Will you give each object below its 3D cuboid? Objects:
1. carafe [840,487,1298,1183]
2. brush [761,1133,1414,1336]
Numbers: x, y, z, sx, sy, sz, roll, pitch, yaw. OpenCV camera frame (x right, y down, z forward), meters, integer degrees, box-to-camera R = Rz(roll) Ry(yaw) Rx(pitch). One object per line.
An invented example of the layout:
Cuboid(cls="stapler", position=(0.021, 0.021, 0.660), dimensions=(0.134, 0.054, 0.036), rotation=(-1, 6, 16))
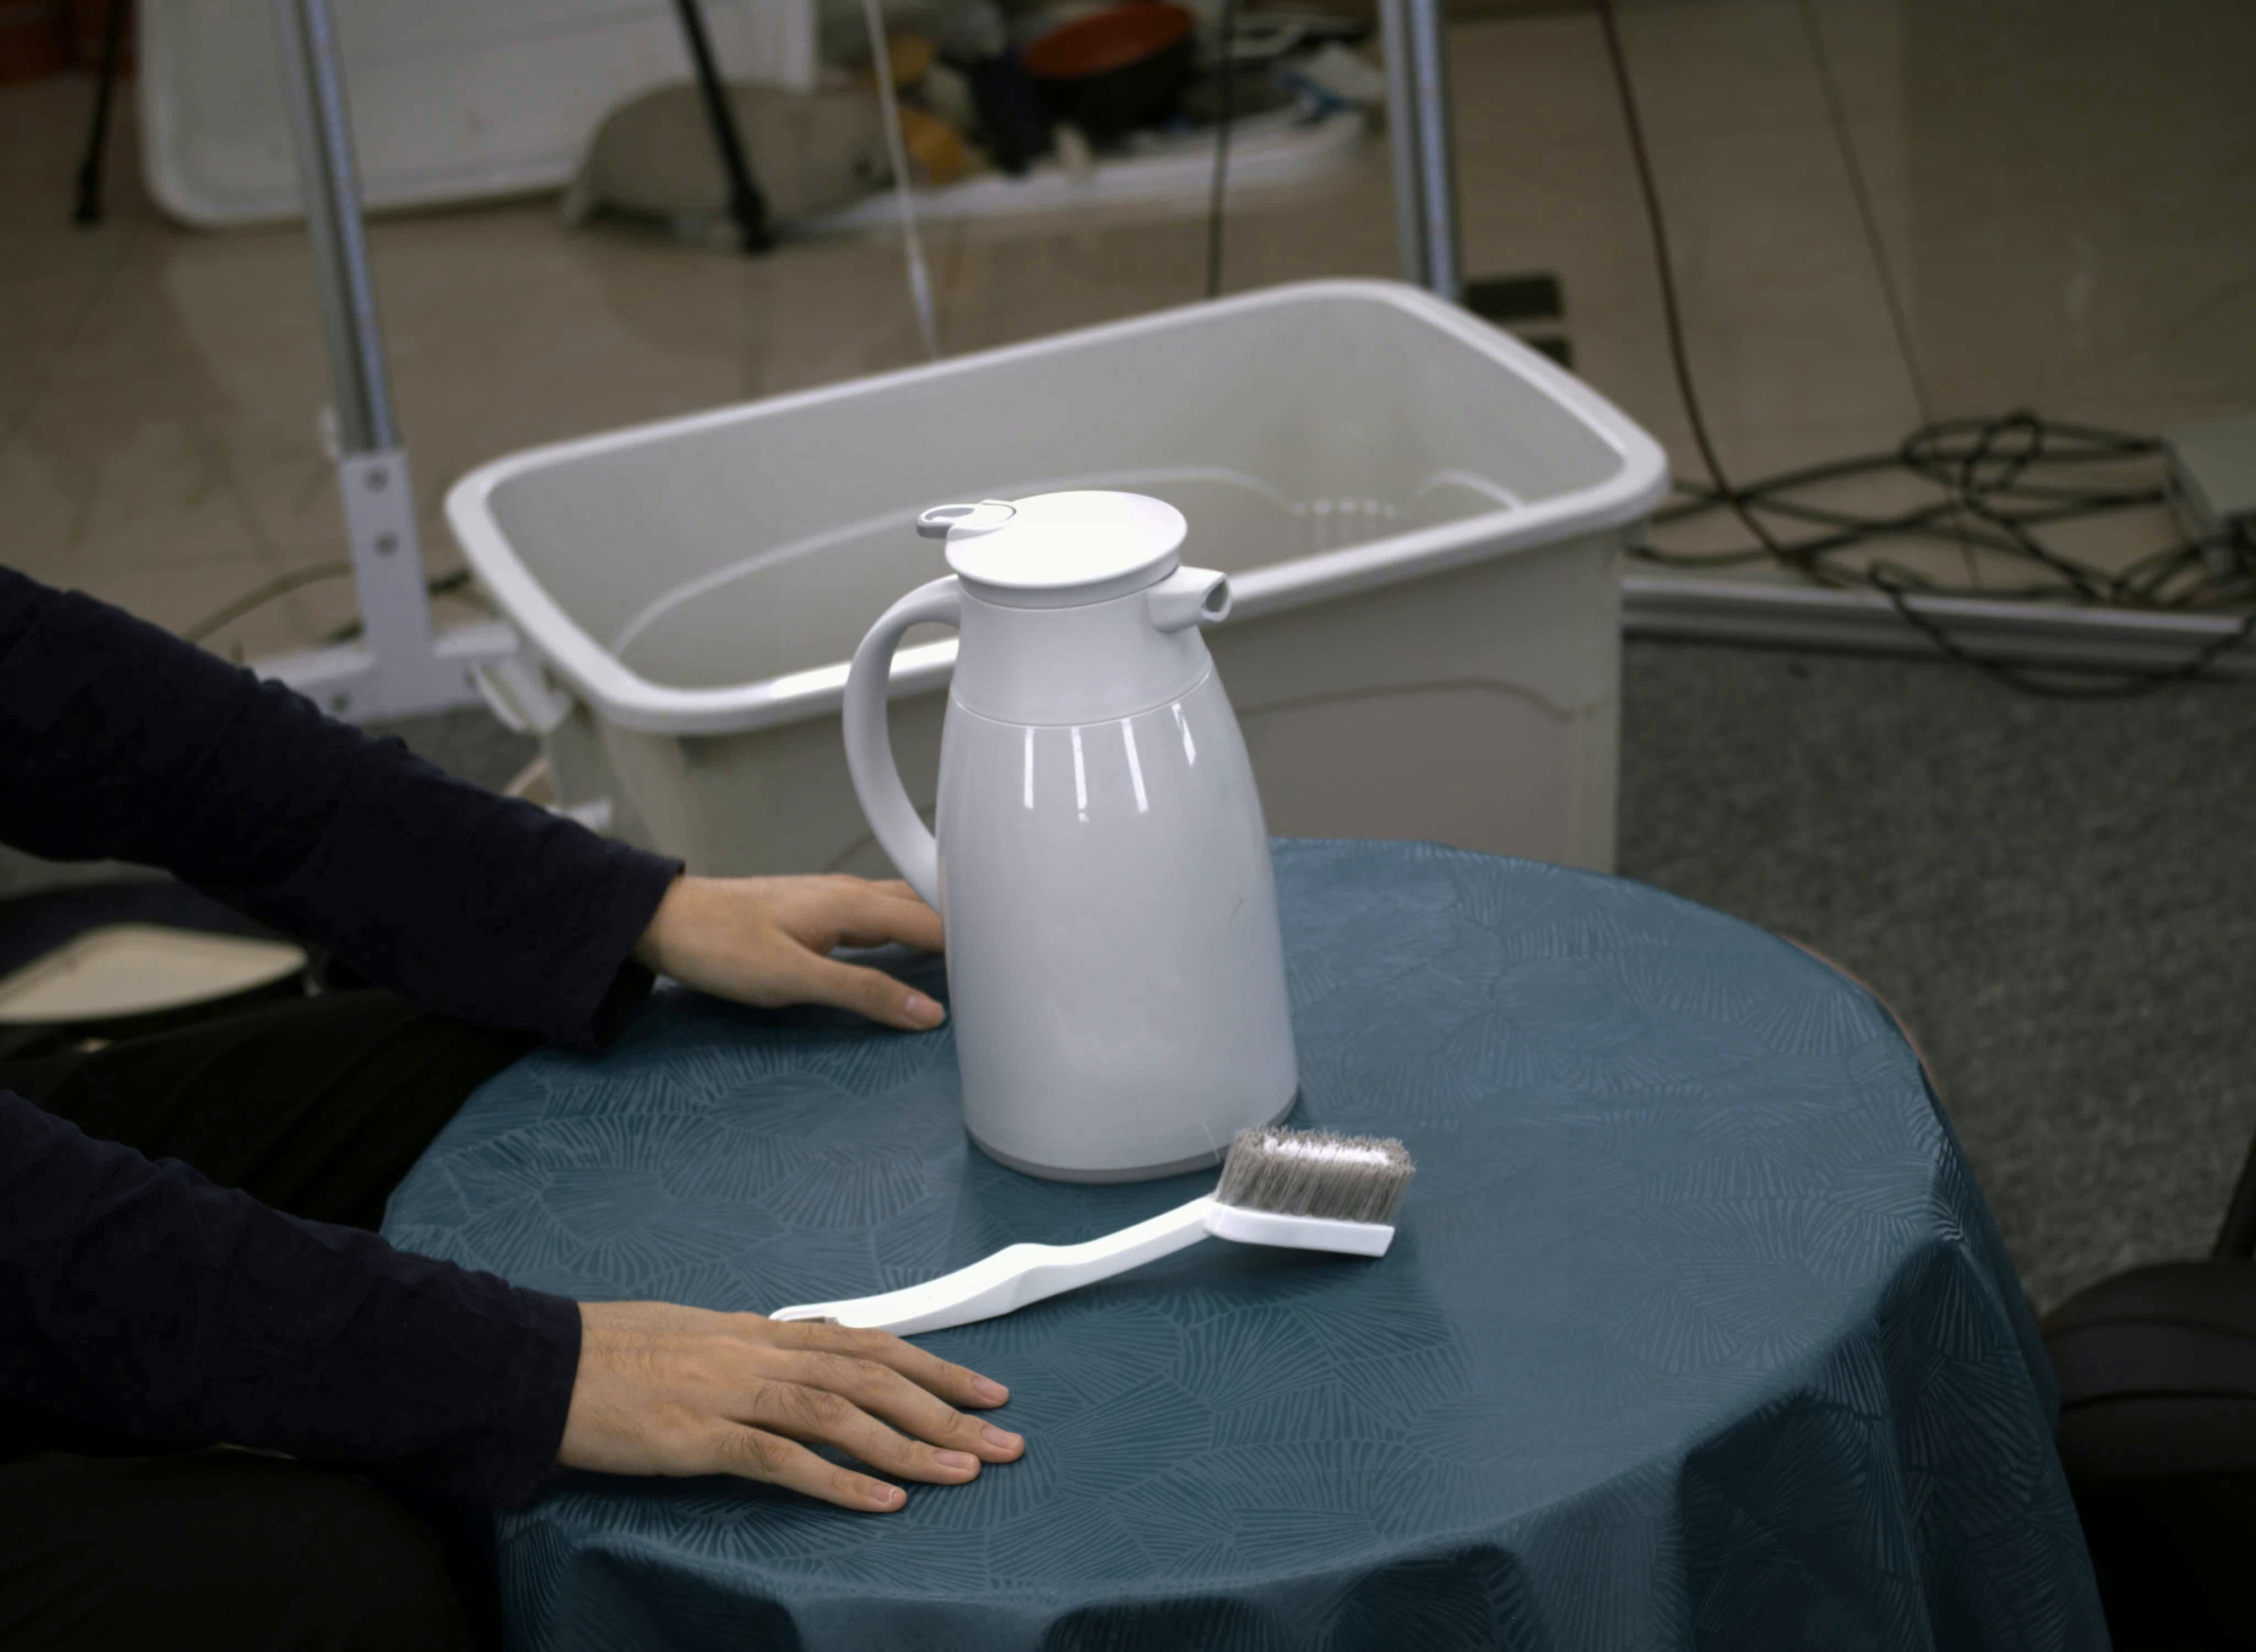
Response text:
Cuboid(cls="carafe", position=(-0.029, -0.004, 2.164), dimensions=(0.167, 0.252, 0.131), rotation=(5, 29, 24))
Cuboid(cls="brush", position=(-0.016, 0.148, 2.075), dimensions=(0.243, 0.051, 0.034), rotation=(-8, 30, -3))
